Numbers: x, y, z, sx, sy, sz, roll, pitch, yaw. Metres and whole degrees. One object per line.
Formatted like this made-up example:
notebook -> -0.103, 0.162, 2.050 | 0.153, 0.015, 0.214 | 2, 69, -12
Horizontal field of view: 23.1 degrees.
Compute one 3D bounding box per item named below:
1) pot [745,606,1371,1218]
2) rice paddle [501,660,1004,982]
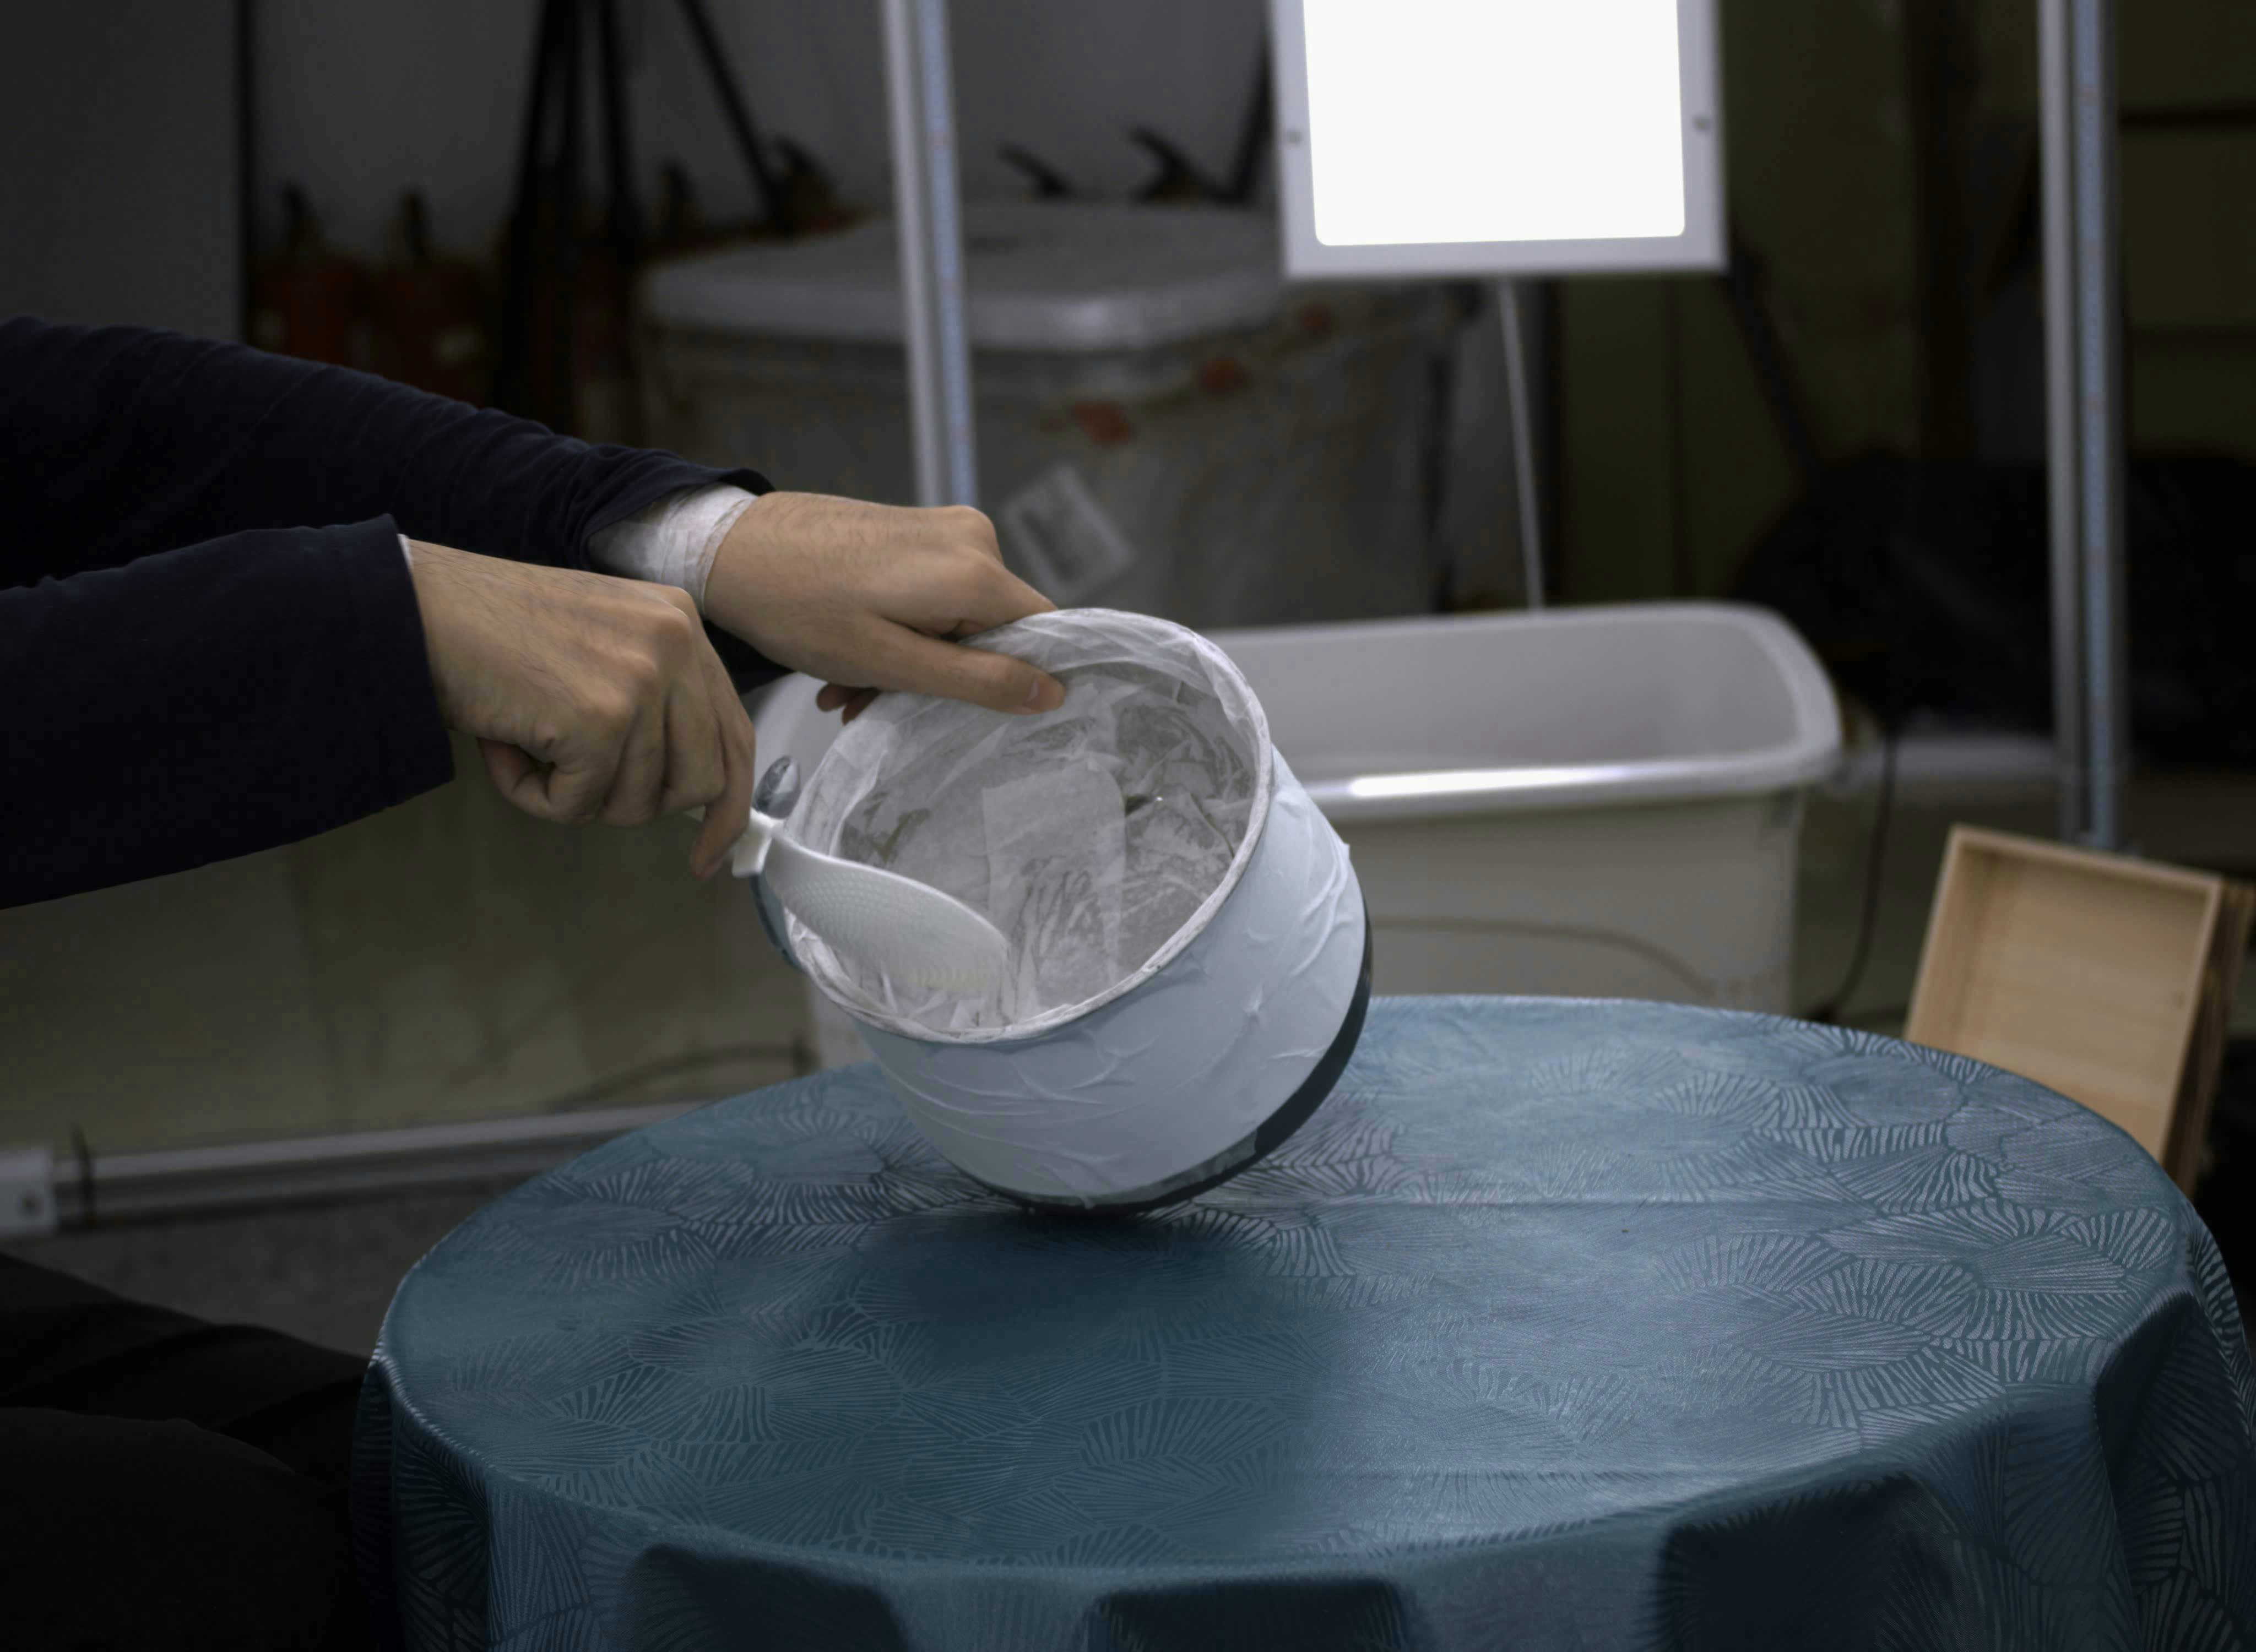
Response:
pot -> -0.036, 0.030, 1.892 | 0.238, 0.135, 0.177 | 9, 57, 31
rice paddle -> -0.117, 0.005, 1.766 | 0.070, 0.029, 0.201 | -10, -33, 45
